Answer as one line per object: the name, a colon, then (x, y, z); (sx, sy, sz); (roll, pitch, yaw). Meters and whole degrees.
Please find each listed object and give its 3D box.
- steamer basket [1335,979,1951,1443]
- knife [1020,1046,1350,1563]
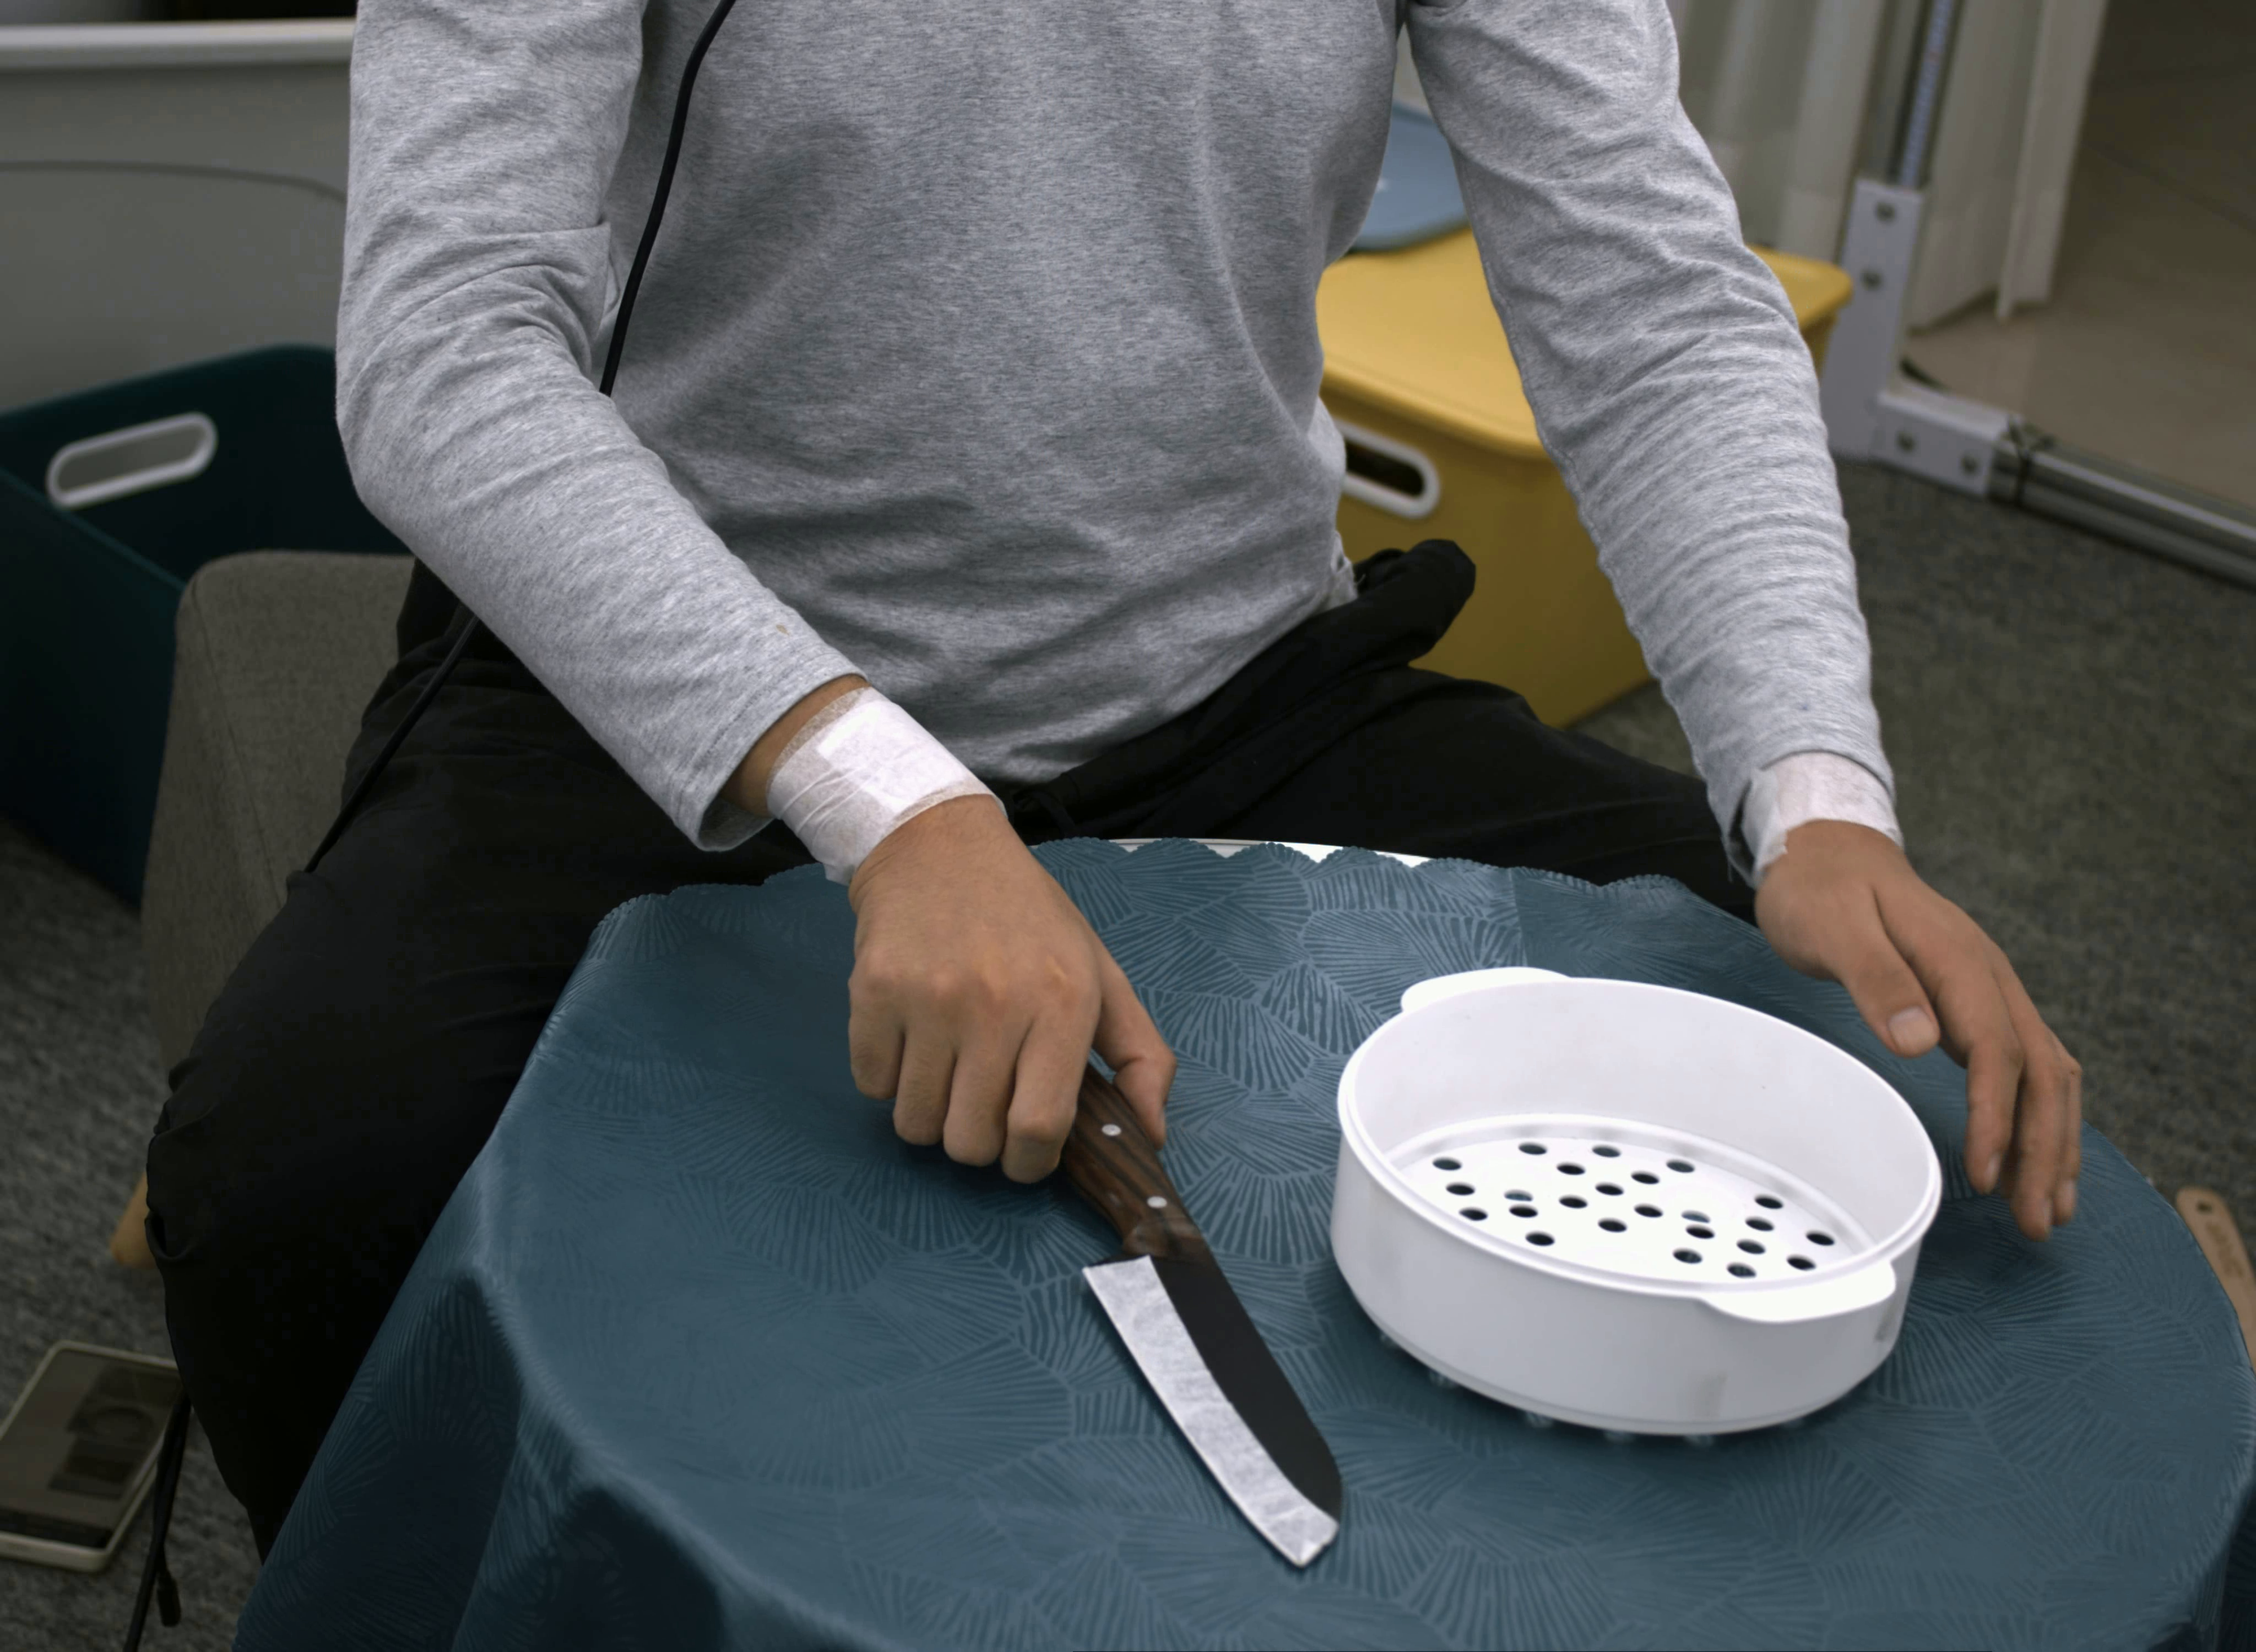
steamer basket: (0.167, 0.129, 1.759); (0.200, 0.069, 0.232); (-7, 29, -26)
knife: (0.014, 0.153, 1.733); (0.050, 0.020, 0.292); (-8, 31, -14)
